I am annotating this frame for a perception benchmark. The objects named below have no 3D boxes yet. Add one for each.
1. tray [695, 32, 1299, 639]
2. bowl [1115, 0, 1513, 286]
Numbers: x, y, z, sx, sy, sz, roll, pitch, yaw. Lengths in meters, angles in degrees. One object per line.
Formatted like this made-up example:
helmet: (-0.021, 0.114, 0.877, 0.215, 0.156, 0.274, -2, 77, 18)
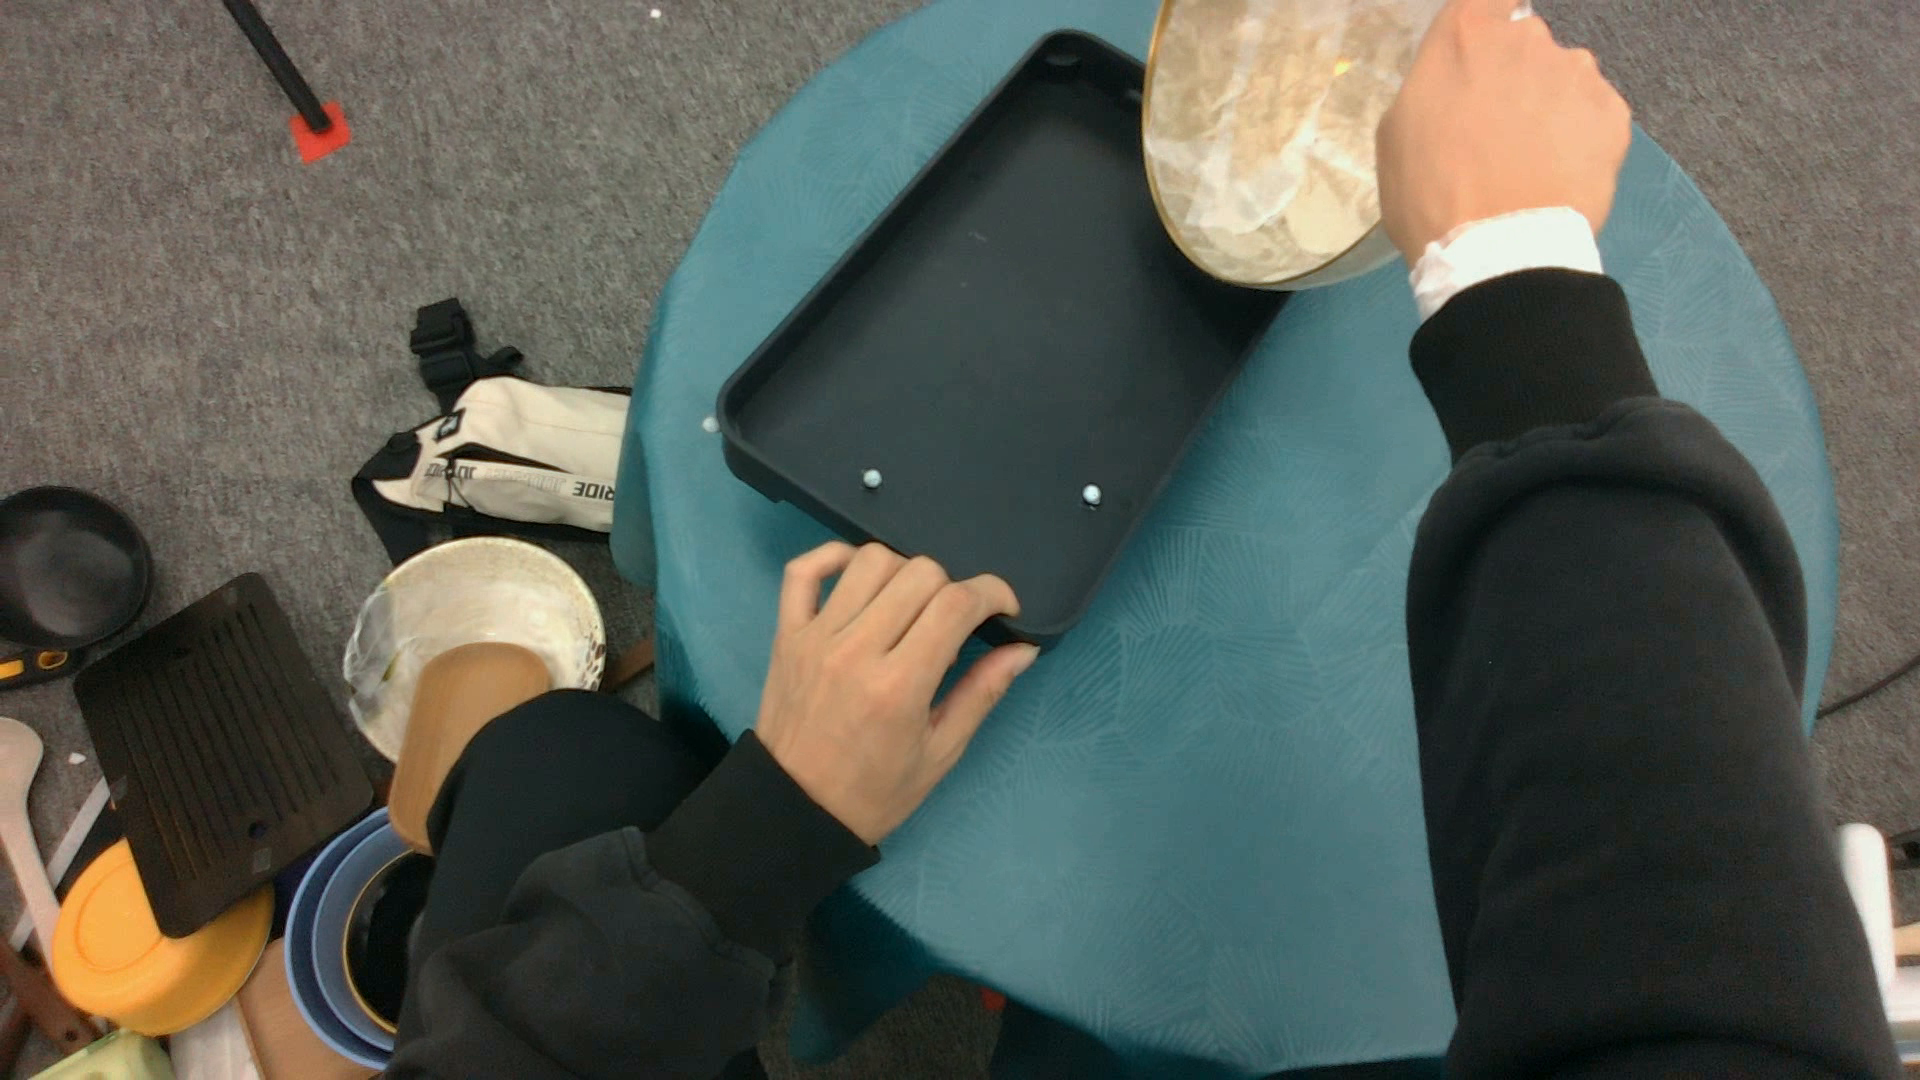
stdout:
tray: (0.037, -0.113, 0.660, 0.184, 0.037, 0.319, 34, 60, 8)
bowl: (0.173, -0.218, 0.642, 0.095, 0.213, 0.215, 3, 67, -36)
